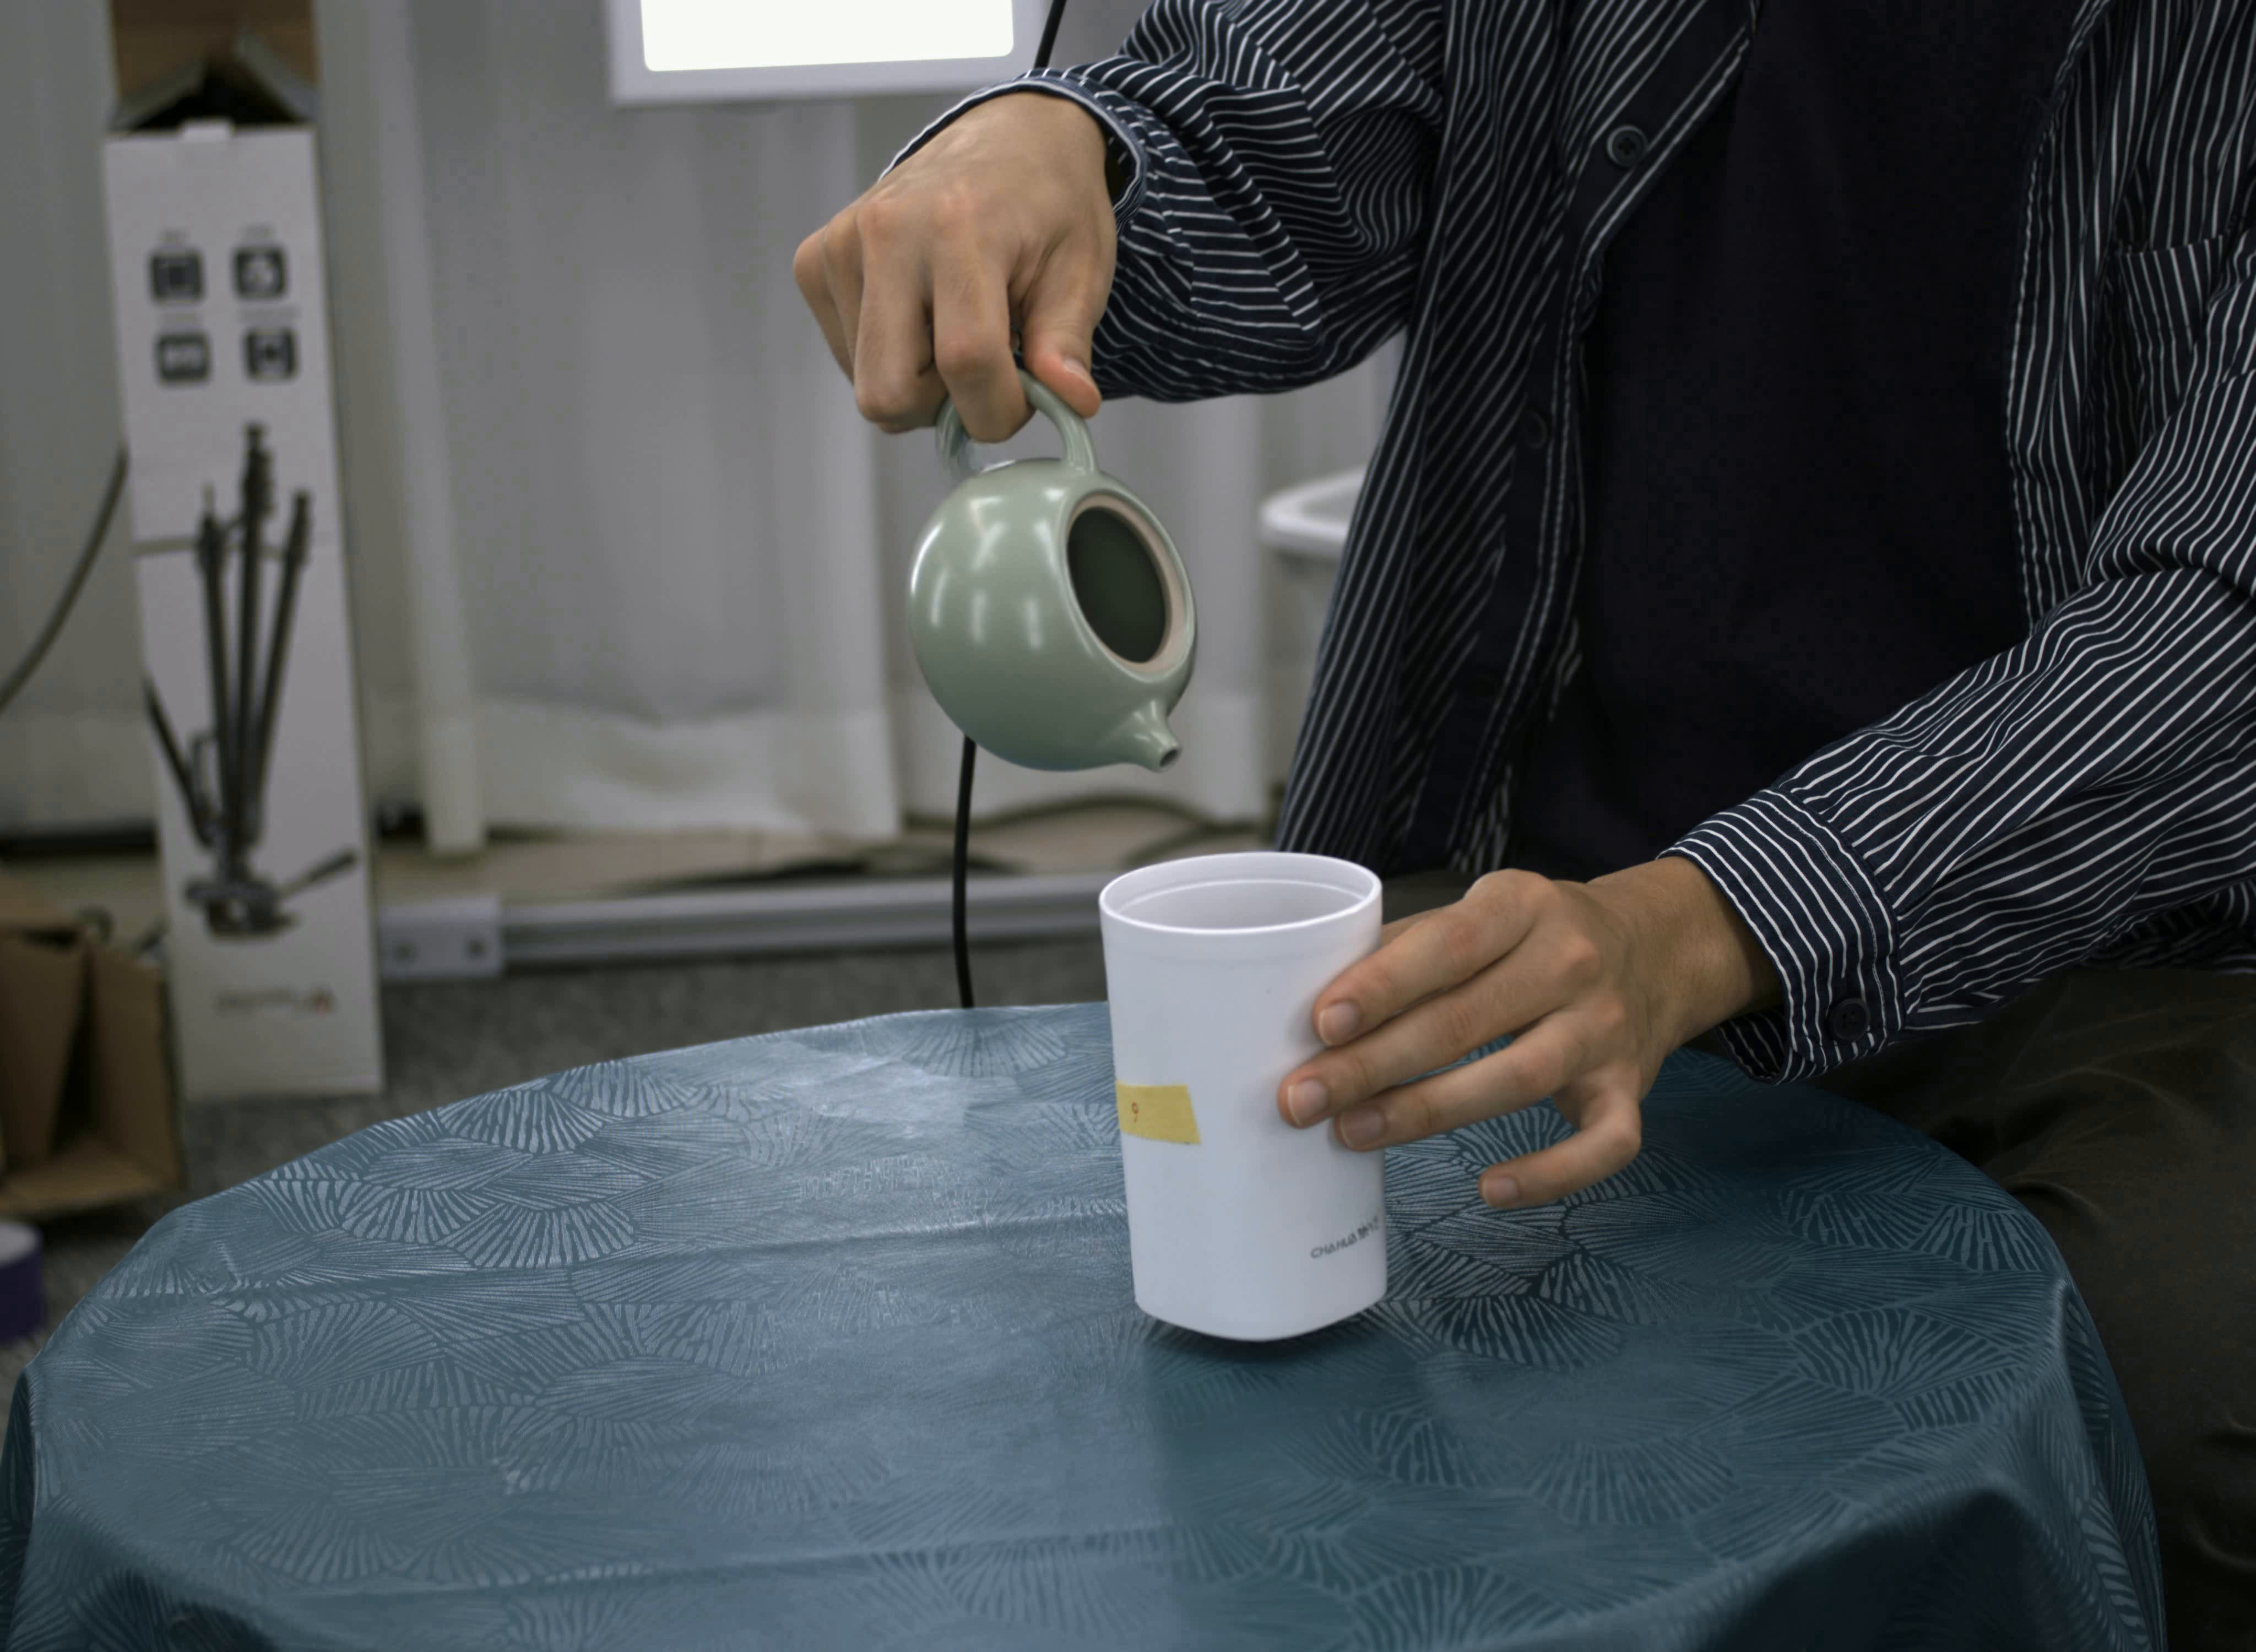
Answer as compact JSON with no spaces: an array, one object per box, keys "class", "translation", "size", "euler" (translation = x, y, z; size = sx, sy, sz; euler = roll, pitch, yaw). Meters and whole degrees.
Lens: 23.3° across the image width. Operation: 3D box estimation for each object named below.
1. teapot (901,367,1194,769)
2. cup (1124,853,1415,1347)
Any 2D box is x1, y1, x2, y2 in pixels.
[{"class":"teapot","translation":[-0.026,-0.071,1.577],"size":[0.061,0.129,0.091],"euler":[-23,-16,35]},{"class":"cup","translation":[0.043,0.079,1.568],"size":[0.081,0.125,0.082],"euler":[-3,14,1]}]
